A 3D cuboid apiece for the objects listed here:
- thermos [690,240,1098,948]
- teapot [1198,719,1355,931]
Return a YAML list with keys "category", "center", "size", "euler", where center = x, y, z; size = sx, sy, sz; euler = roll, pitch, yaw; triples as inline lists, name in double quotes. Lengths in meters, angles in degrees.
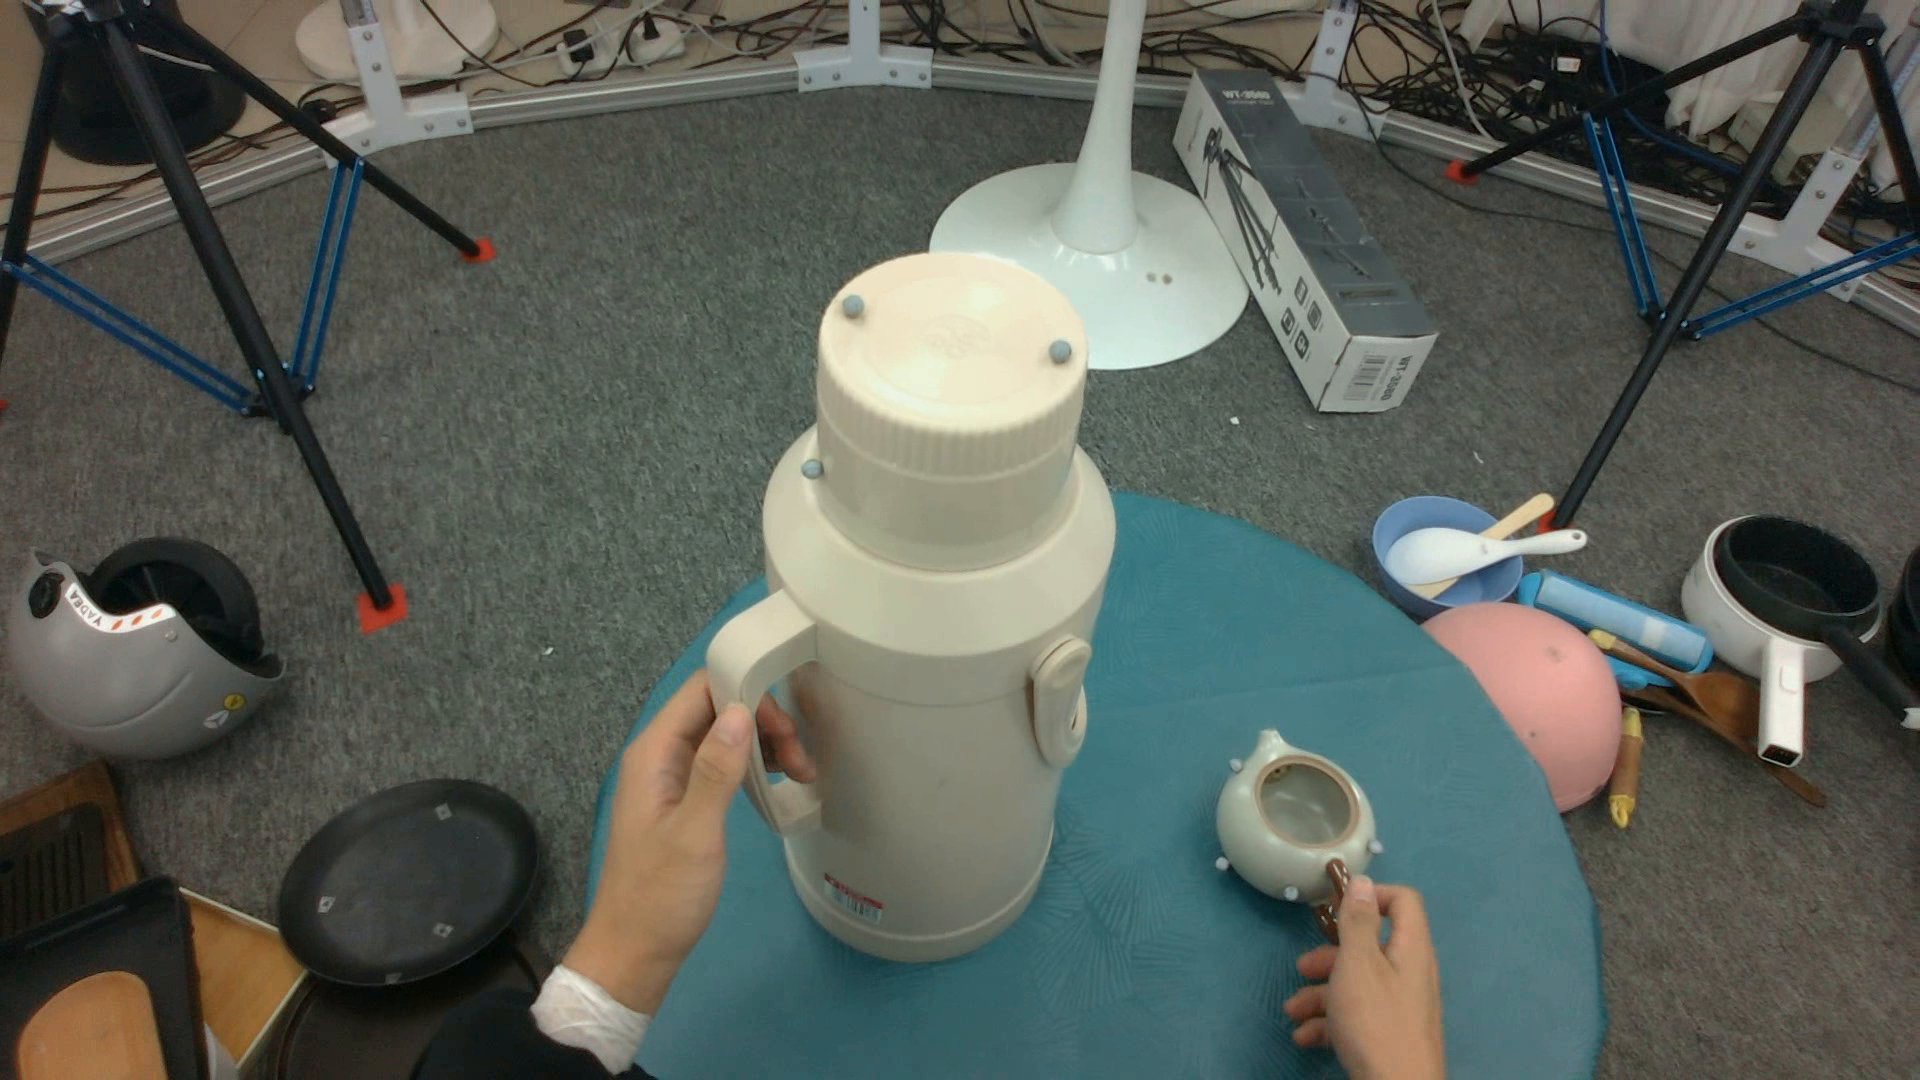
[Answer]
- category: "thermos"
  center: [-0.035, 0.051, 0.674]
  size: [0.208, 0.404, 0.175]
  euler: [-33, 61, -29]
- category: "teapot"
  center: [0.192, 0.170, 0.815]
  size: [0.092, 0.059, 0.128]
  euler: [-10, 49, -17]
